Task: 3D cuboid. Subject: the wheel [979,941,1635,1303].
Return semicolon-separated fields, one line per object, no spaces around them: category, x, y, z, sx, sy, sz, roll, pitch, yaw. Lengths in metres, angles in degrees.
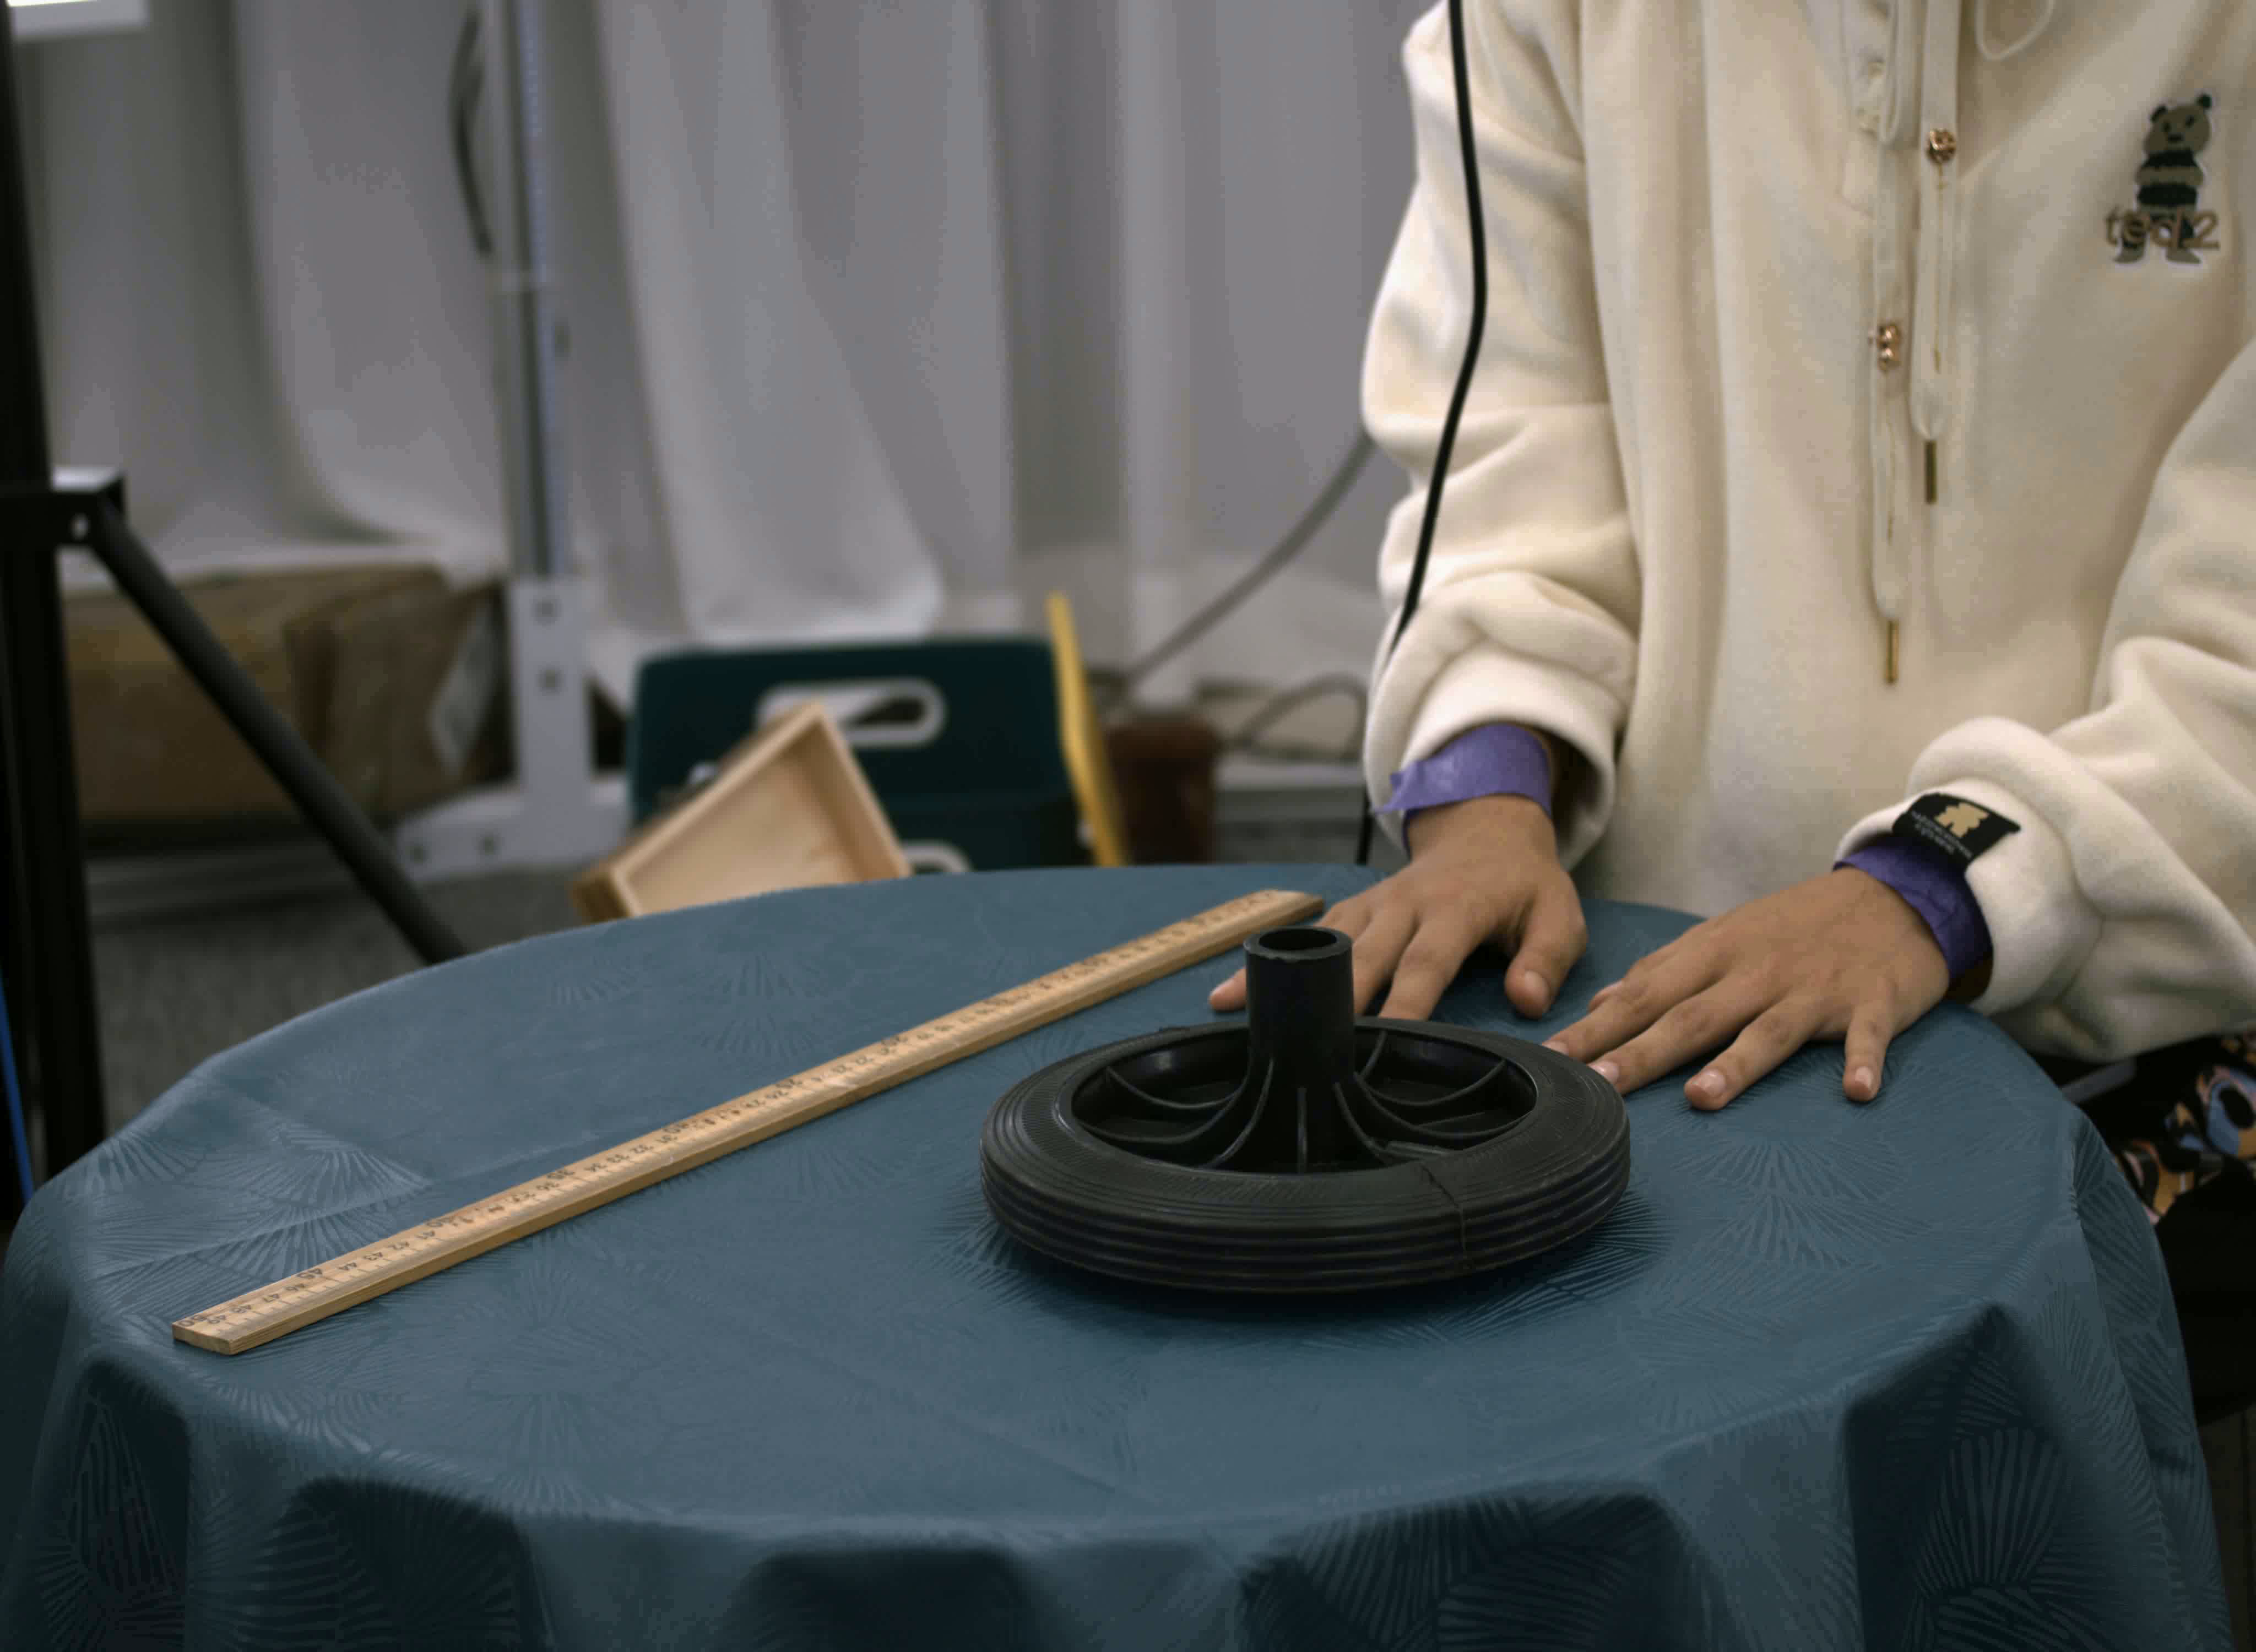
wheel;0.051;0.076;1.524;0.191;0.079;0.186;1;16;12

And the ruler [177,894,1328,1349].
ruler;-0.098;0.084;1.652;0.027;0.006;0.489;10;20;39
